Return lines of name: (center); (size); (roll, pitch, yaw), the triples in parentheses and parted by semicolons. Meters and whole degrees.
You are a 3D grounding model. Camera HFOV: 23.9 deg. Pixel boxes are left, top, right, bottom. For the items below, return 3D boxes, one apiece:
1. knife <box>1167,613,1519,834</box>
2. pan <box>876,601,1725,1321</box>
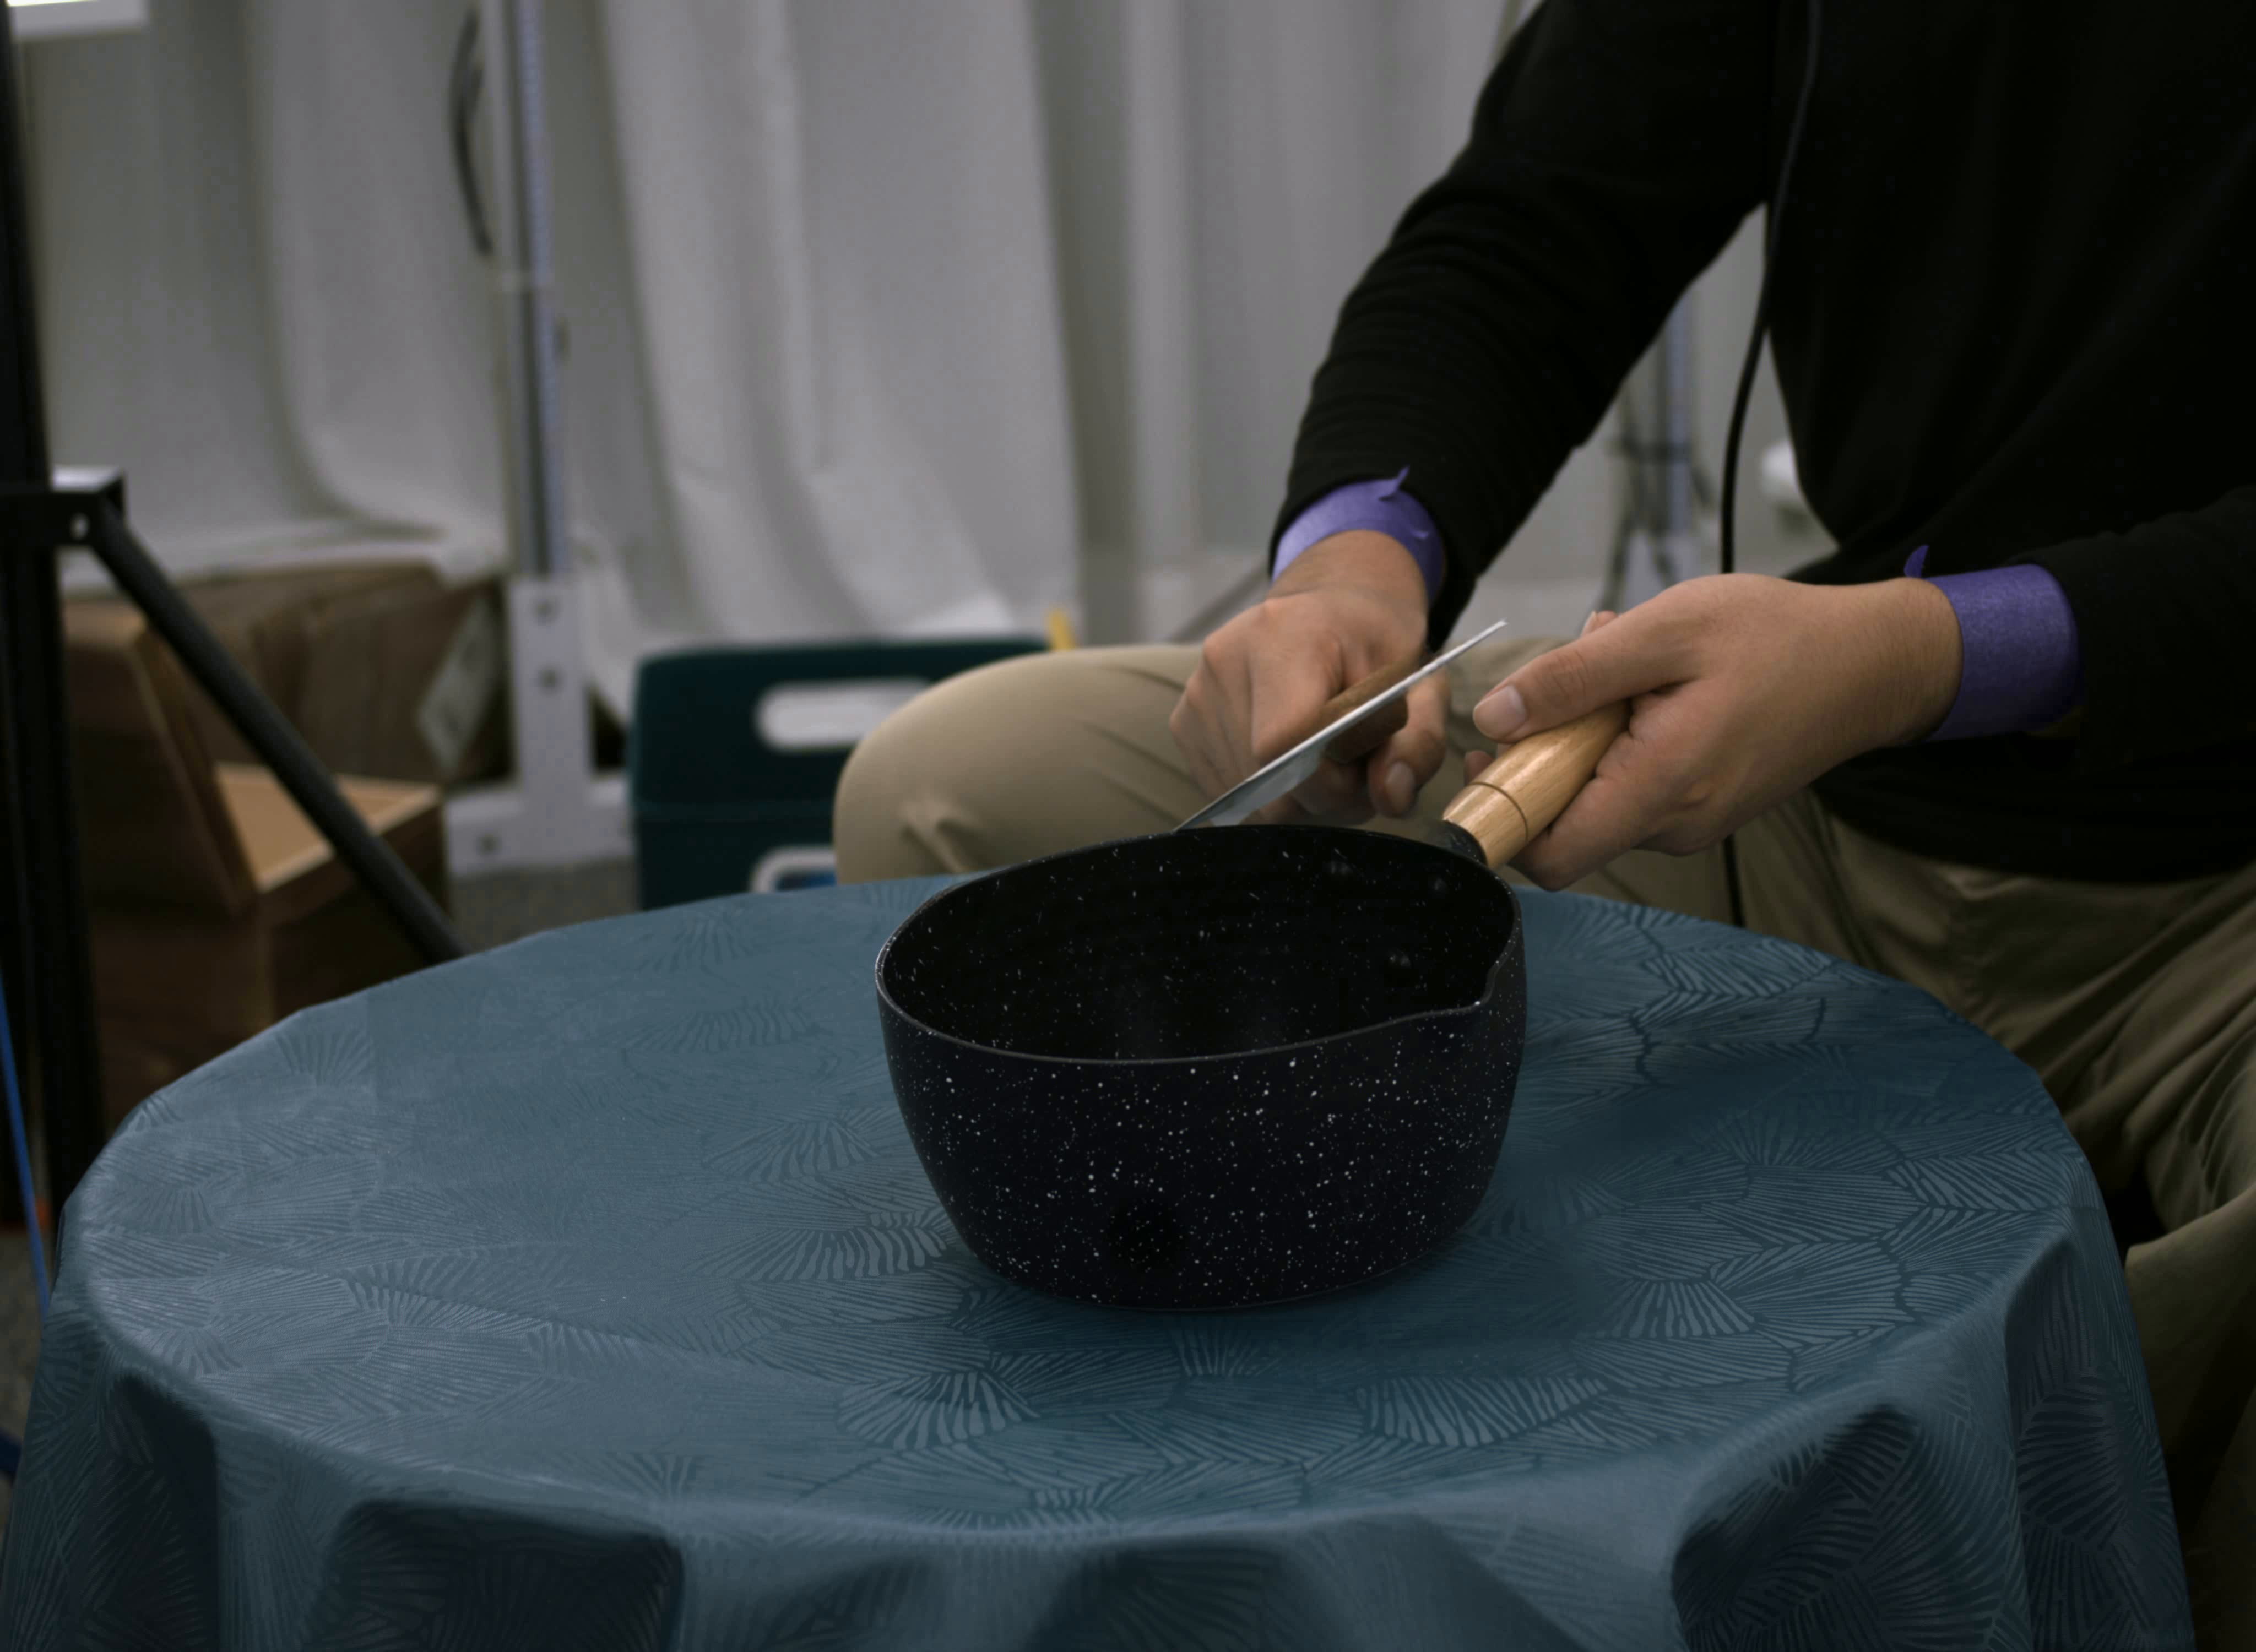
knife: (0.054, -0.022, 1.616); (0.092, 0.021, 0.306); (-32, -1, -9)
pan: (0.073, 0.035, 1.560); (0.212, 0.108, 0.336); (10, 26, 39)
